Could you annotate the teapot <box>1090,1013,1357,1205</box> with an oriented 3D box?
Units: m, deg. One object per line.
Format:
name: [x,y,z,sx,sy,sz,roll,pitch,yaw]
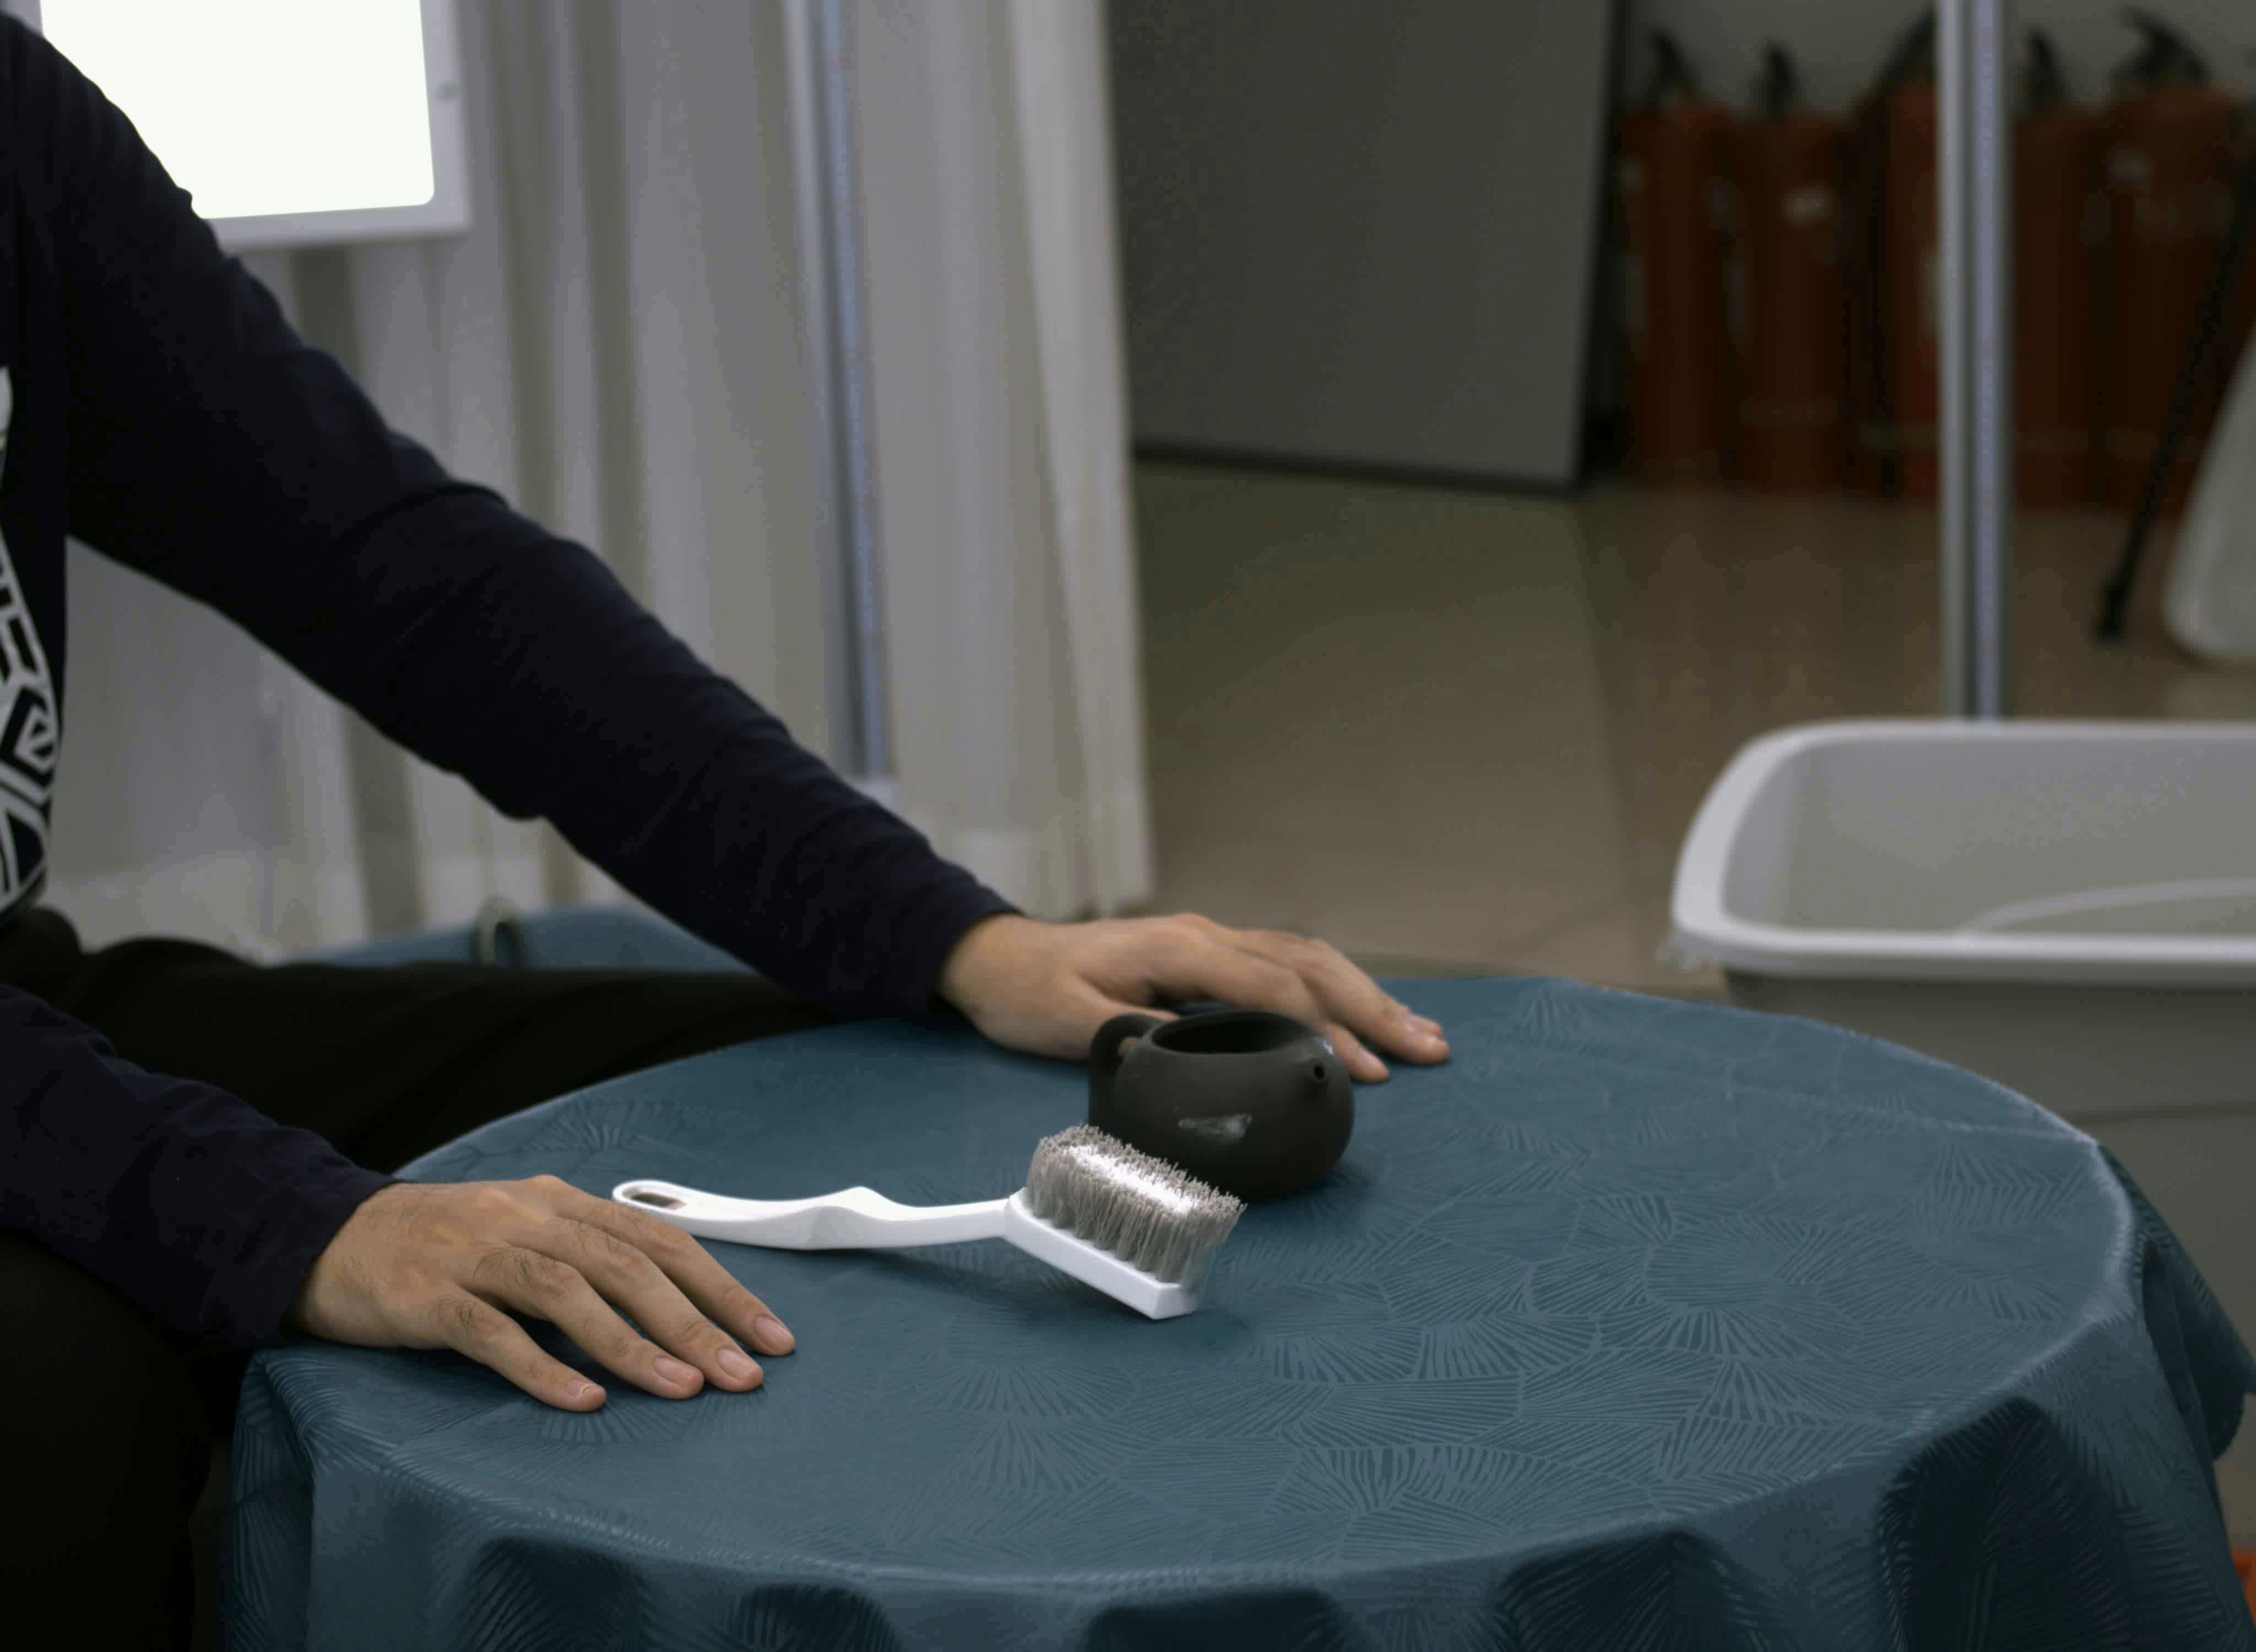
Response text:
teapot: [0.027,0.091,1.785,0.081,0.053,0.115,-16,18,-38]

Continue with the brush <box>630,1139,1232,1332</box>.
brush: [-0.069,0.117,1.715,0.245,0.051,0.034,7,21,39]
